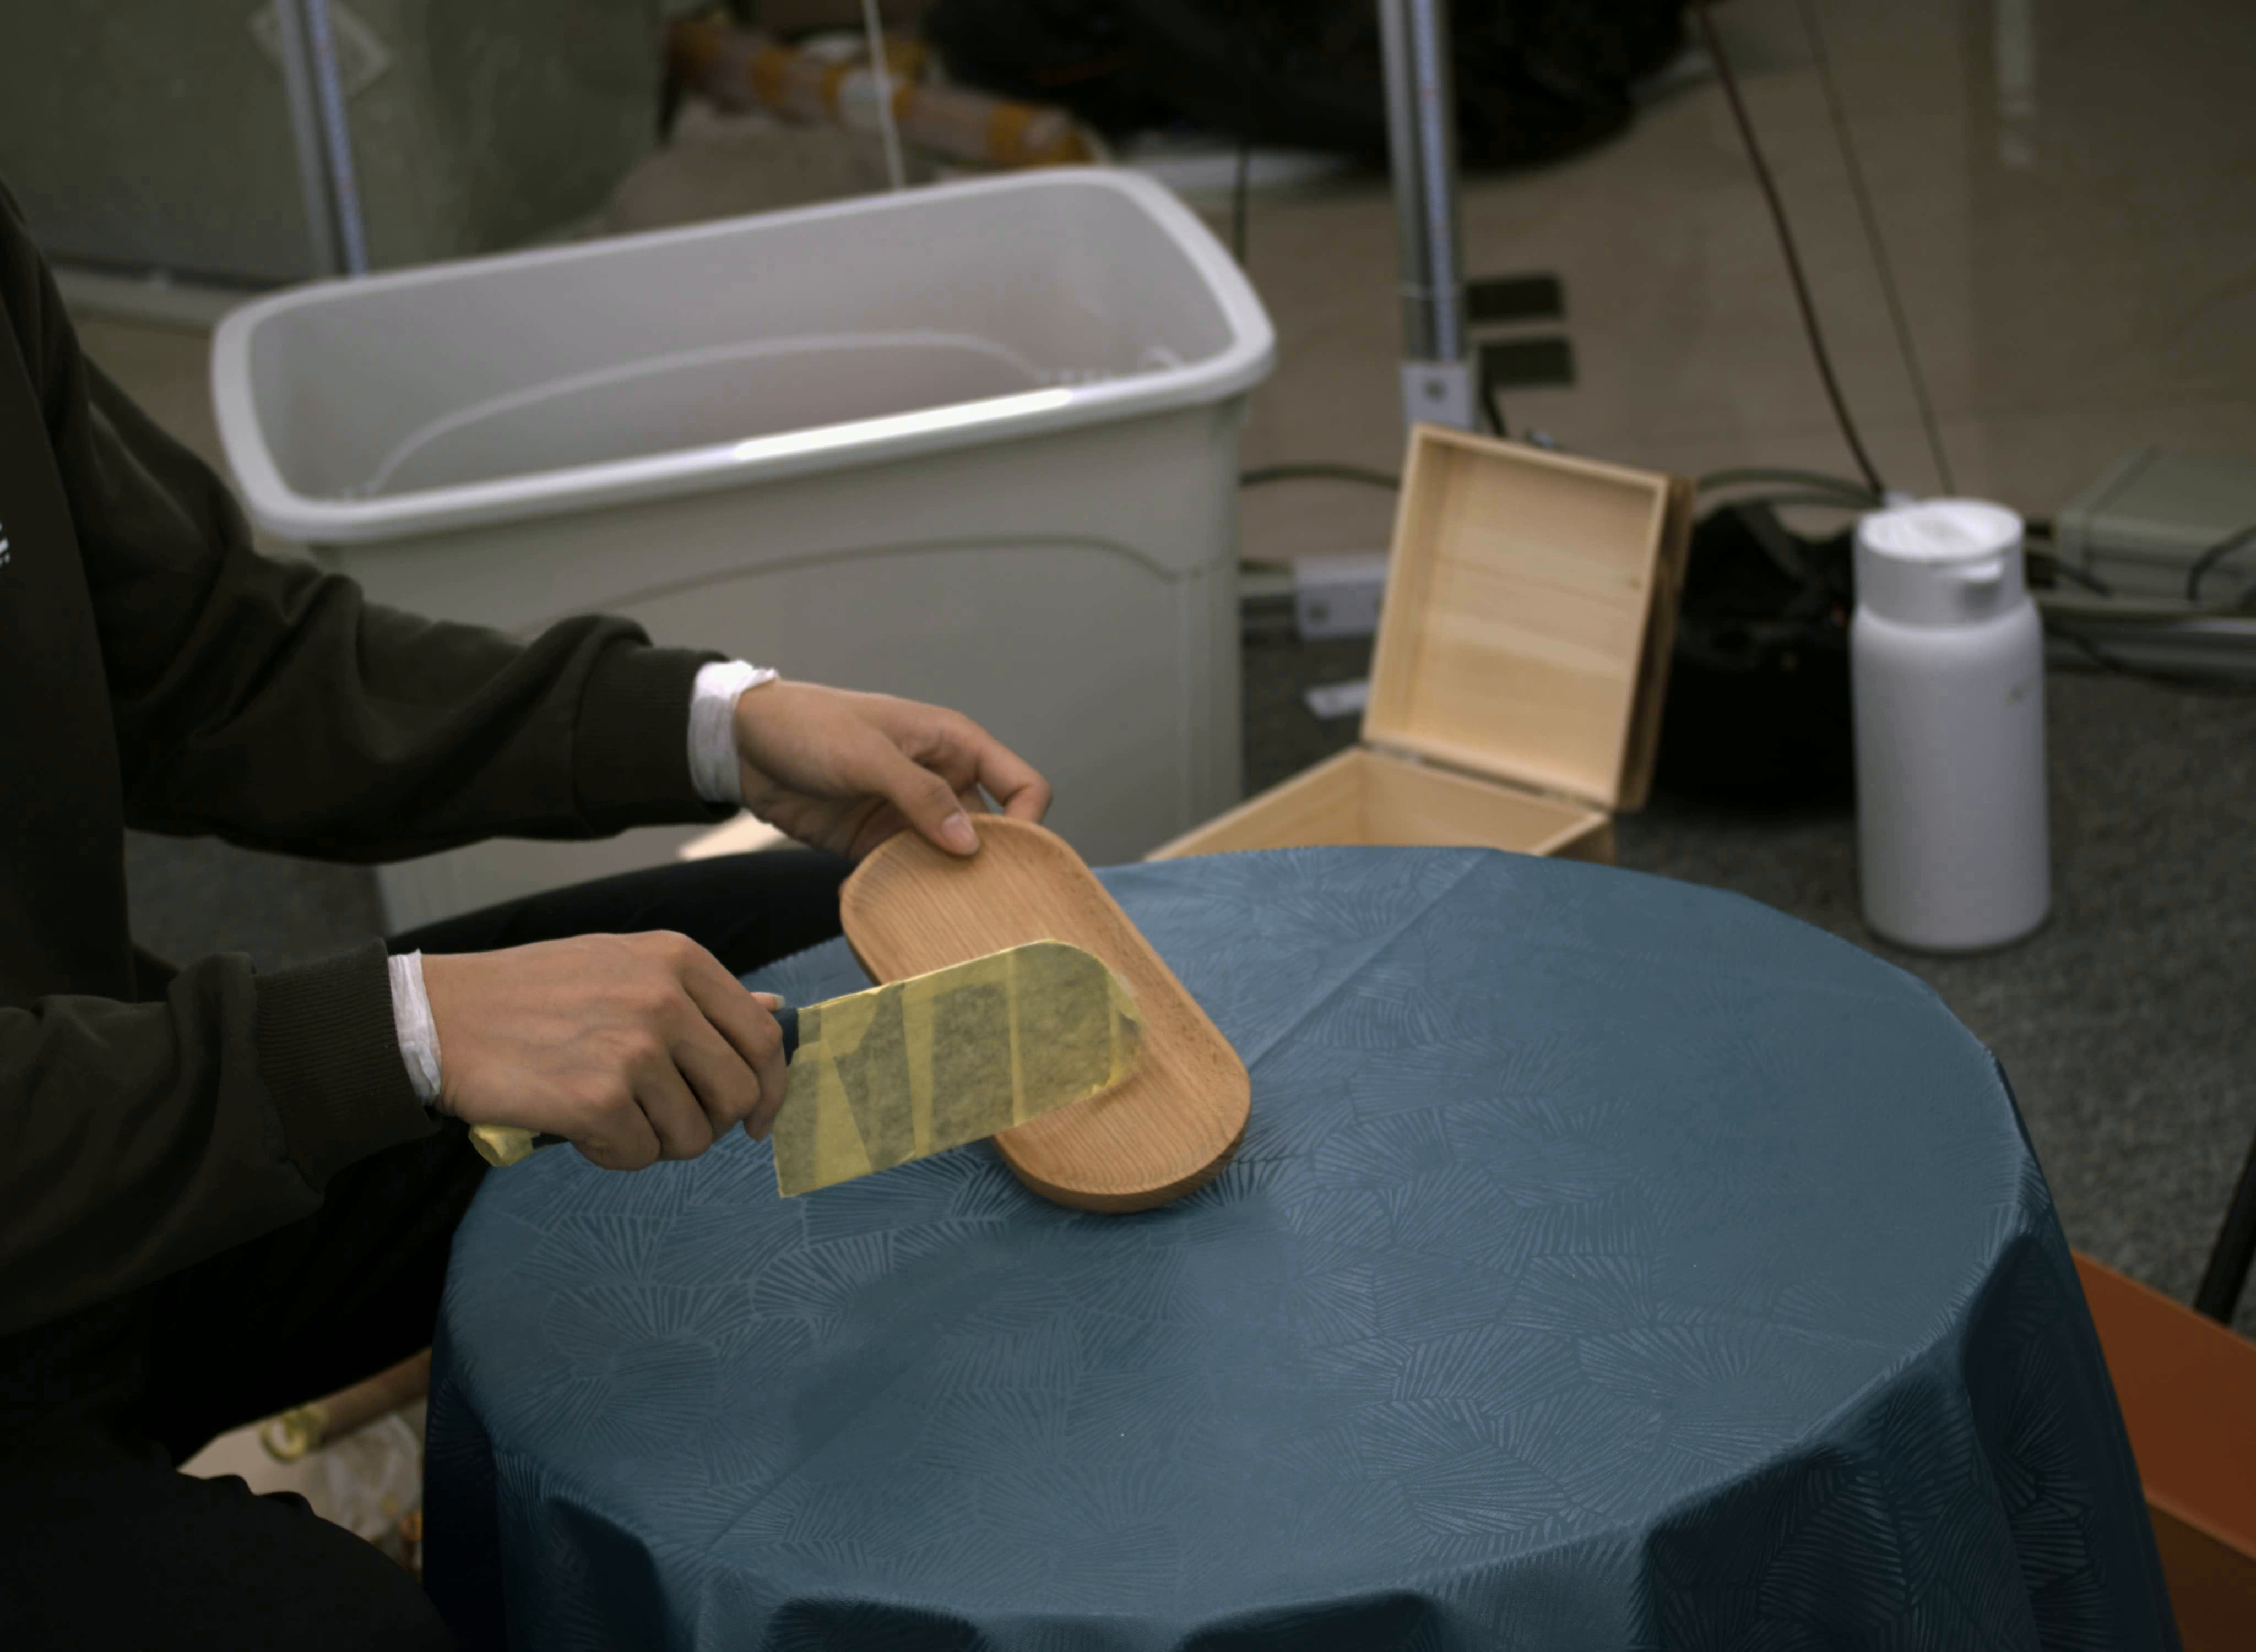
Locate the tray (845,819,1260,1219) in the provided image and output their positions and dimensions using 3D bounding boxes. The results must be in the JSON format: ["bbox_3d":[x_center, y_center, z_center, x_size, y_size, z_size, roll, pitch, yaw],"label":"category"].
[{"bbox_3d":[-0.031,0.073,2.207,0.101,0.021,0.228,-25,48,-16],"label":"tray"}]

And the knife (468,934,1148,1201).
[{"bbox_3d":[-0.112,0.097,2.099,0.288,0.082,0.027,-12,20,-31],"label":"knife"}]
